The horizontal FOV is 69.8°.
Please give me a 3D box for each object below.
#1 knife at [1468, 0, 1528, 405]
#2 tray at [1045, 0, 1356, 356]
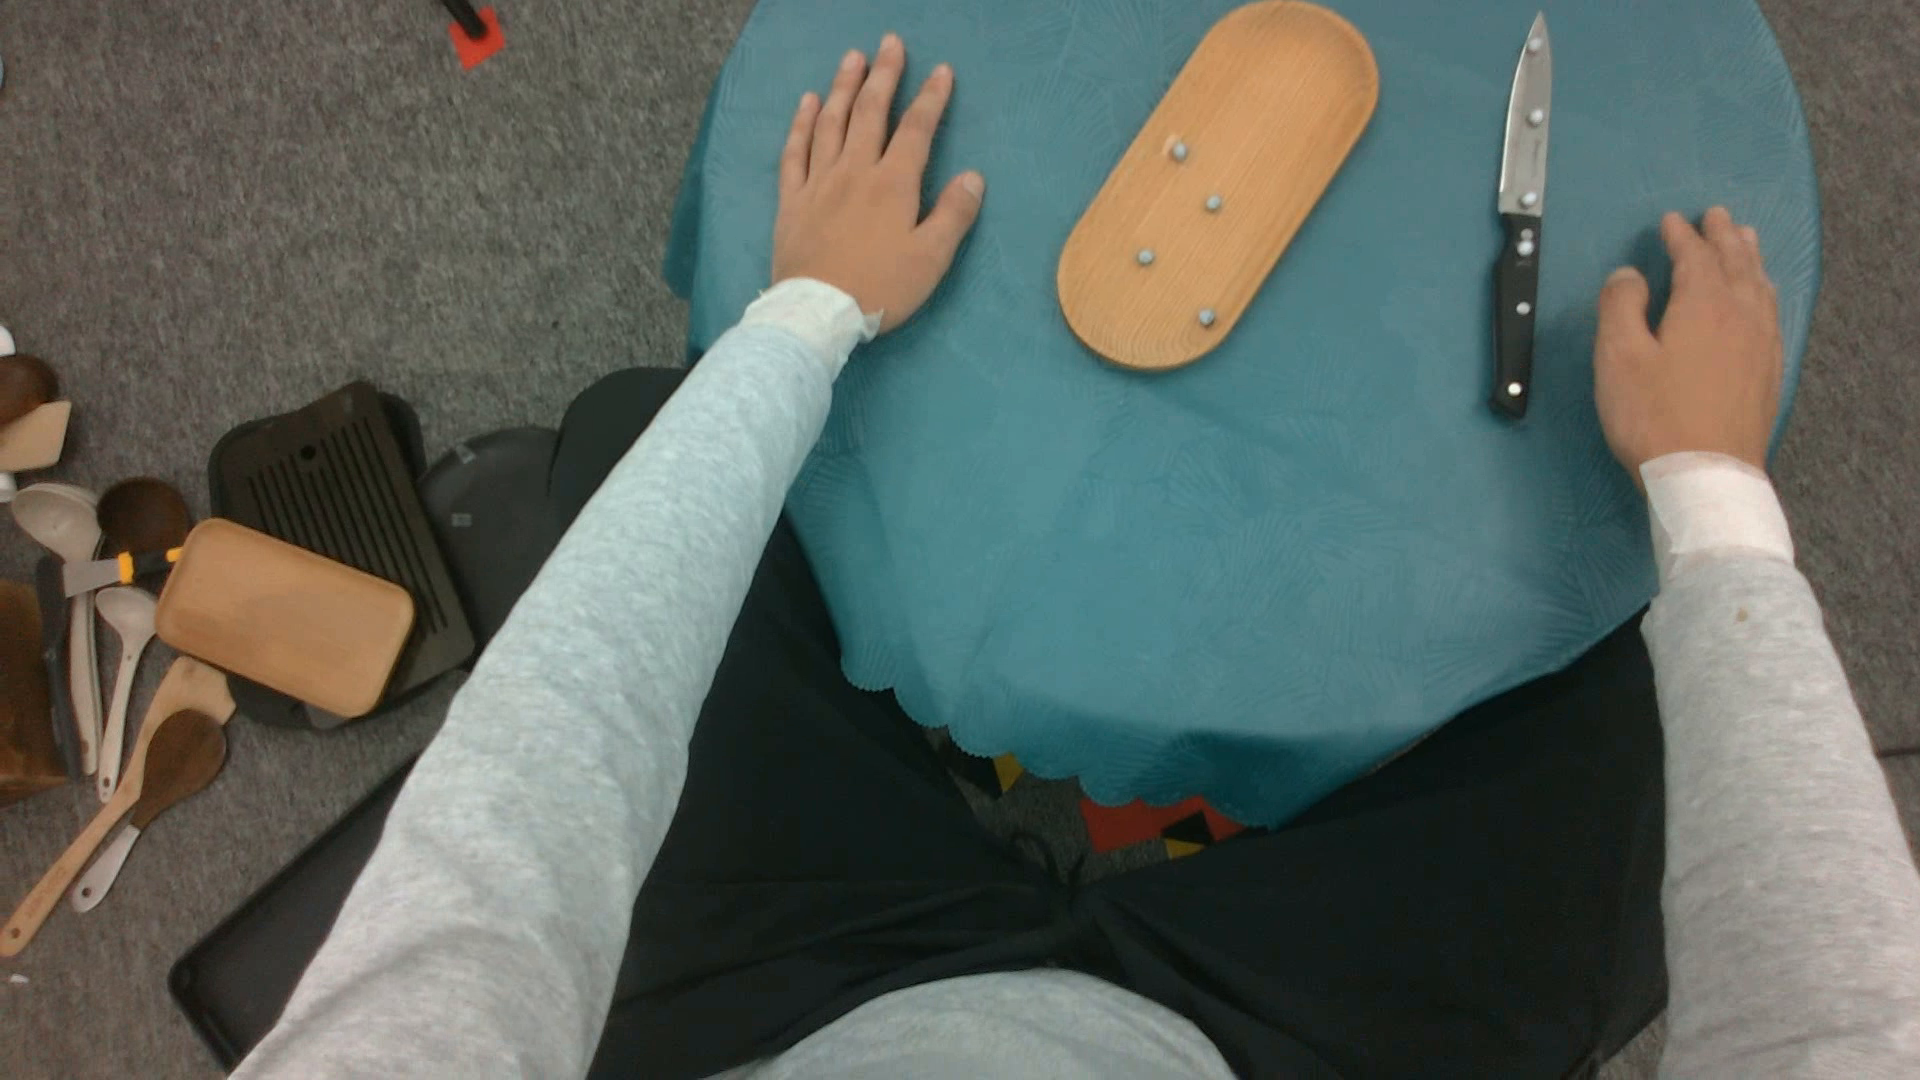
[{"bbox_3d":[0.289,-0.183,0.731,0.024,0.016,0.238,7,76,8],"label":"knife"},{"bbox_3d":[0.130,-0.201,0.744,0.101,0.020,0.231,30,81,8],"label":"tray"}]
